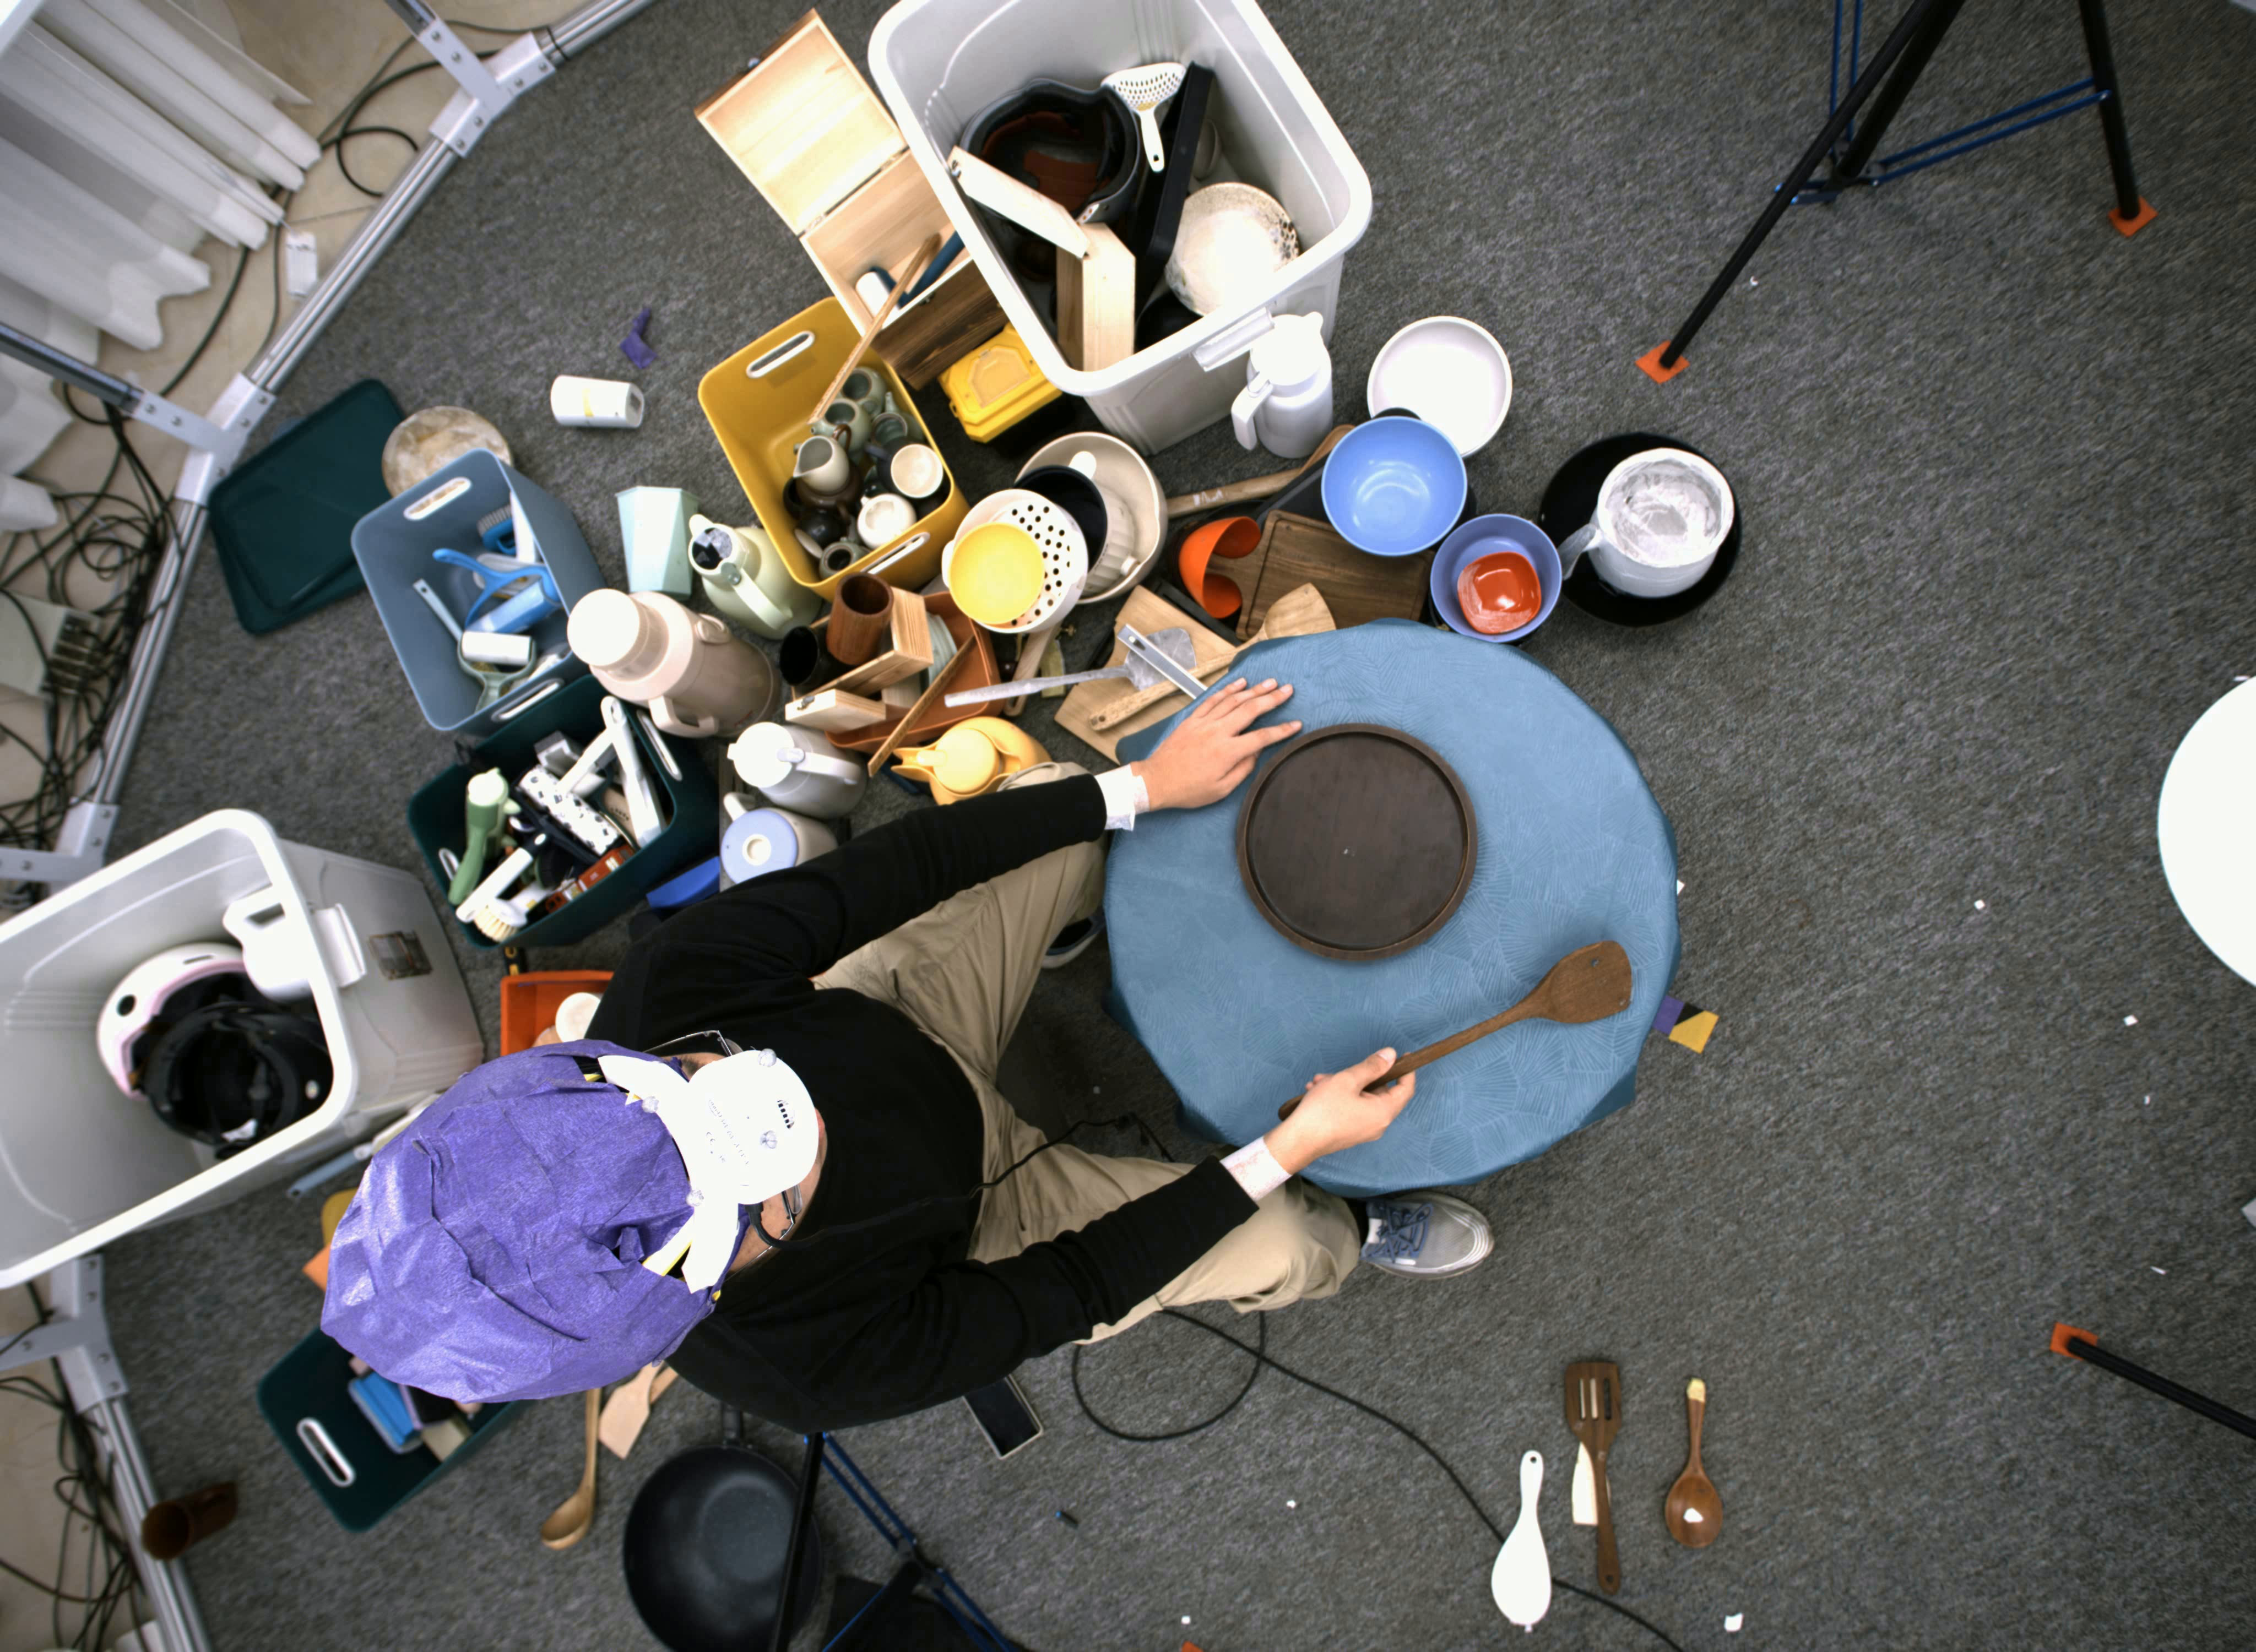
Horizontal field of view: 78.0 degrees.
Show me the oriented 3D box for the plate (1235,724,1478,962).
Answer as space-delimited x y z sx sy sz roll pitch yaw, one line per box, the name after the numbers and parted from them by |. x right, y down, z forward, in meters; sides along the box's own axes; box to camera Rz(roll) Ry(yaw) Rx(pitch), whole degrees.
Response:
0.240 0.016 1.458 0.256 0.029 0.254 -1 87 9 | plate

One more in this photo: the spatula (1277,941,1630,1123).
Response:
0.328 0.215 1.385 0.386 0.015 0.098 -23 123 -1 | spatula
